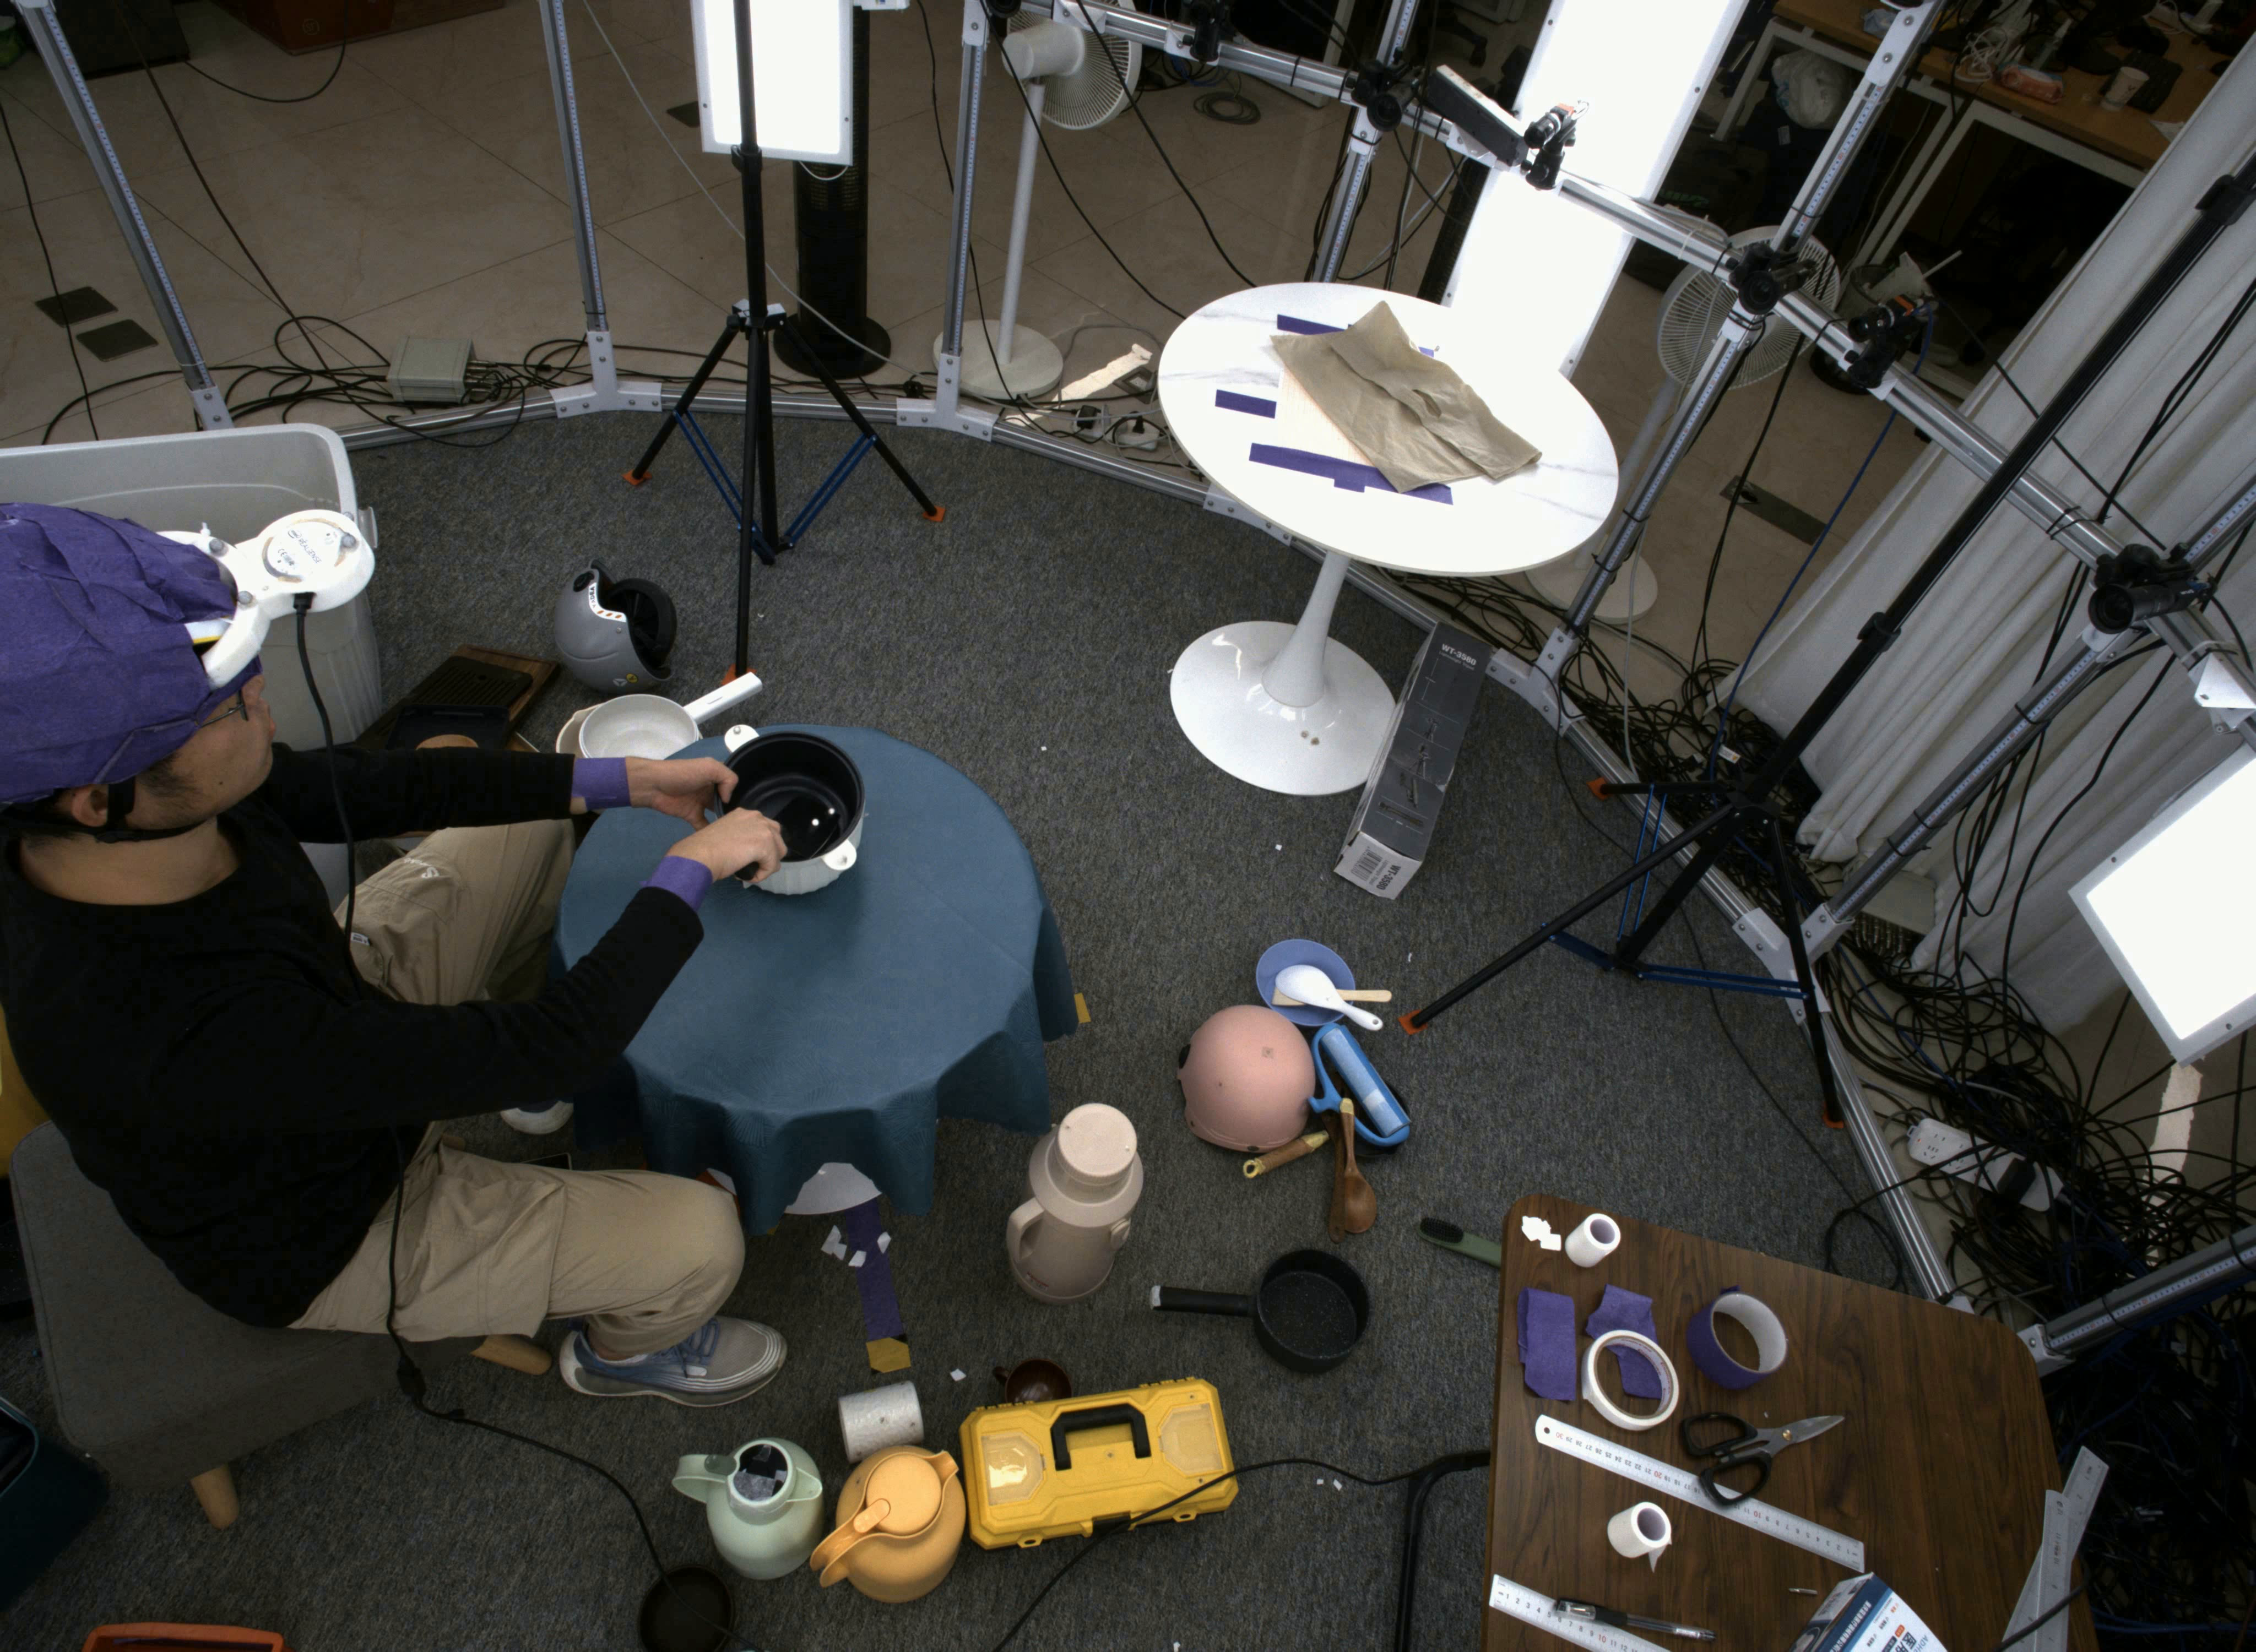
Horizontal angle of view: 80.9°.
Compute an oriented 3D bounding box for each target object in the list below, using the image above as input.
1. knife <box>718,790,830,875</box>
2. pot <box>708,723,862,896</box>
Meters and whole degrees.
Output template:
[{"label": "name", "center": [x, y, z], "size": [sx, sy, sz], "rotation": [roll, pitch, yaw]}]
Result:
[{"label": "knife", "center": [-0.407, 0.006, 1.503], "size": [0.081, 0.021, 0.299], "rotation": [29, 14, -3]}, {"label": "pot", "center": [-0.422, -0.015, 1.630], "size": [0.190, 0.144, 0.238], "rotation": [-39, 79, -23]}]
